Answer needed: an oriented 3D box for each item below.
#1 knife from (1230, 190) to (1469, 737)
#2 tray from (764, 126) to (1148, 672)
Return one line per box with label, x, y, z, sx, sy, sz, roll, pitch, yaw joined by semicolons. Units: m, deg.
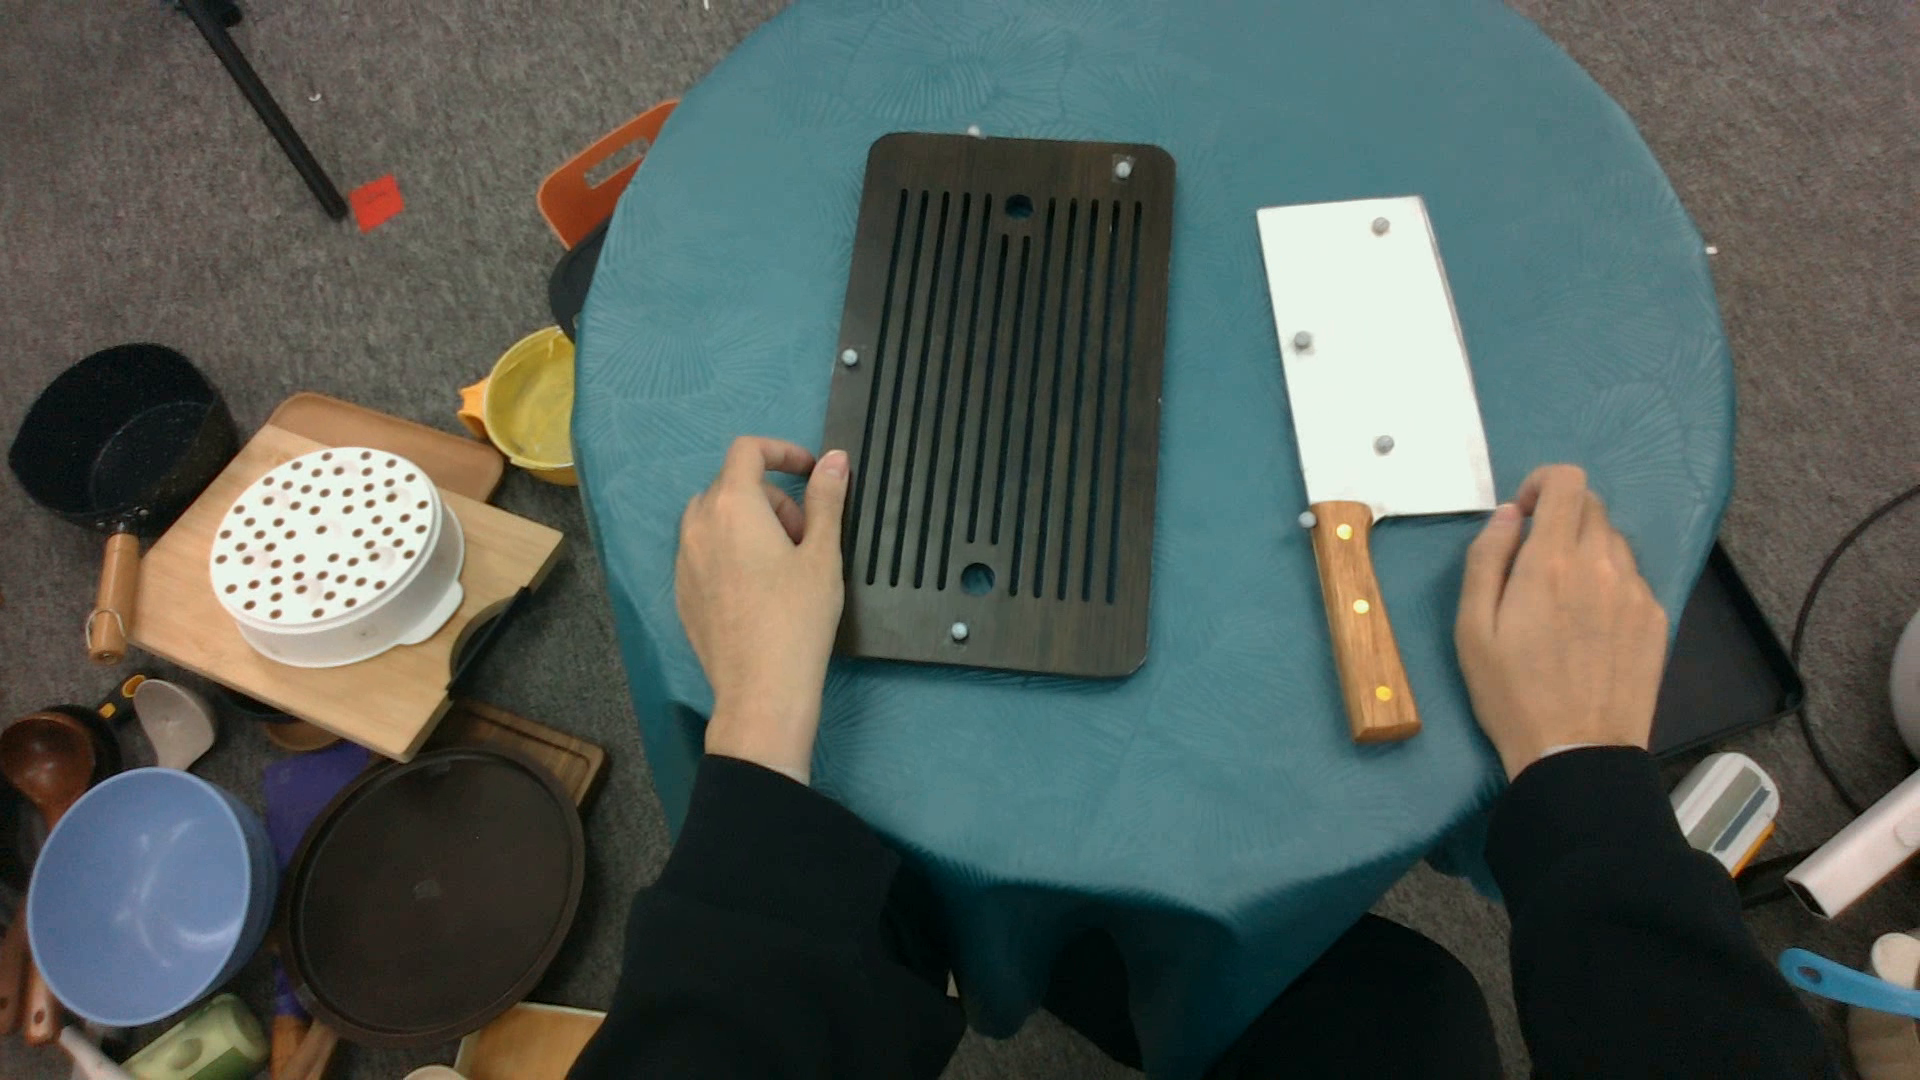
knife;0.201;-0.052;0.687;0.093;0.021;0.307;-4;64;-1
tray;0.005;-0.083;0.706;0.170;0.018;0.307;4;67;4
